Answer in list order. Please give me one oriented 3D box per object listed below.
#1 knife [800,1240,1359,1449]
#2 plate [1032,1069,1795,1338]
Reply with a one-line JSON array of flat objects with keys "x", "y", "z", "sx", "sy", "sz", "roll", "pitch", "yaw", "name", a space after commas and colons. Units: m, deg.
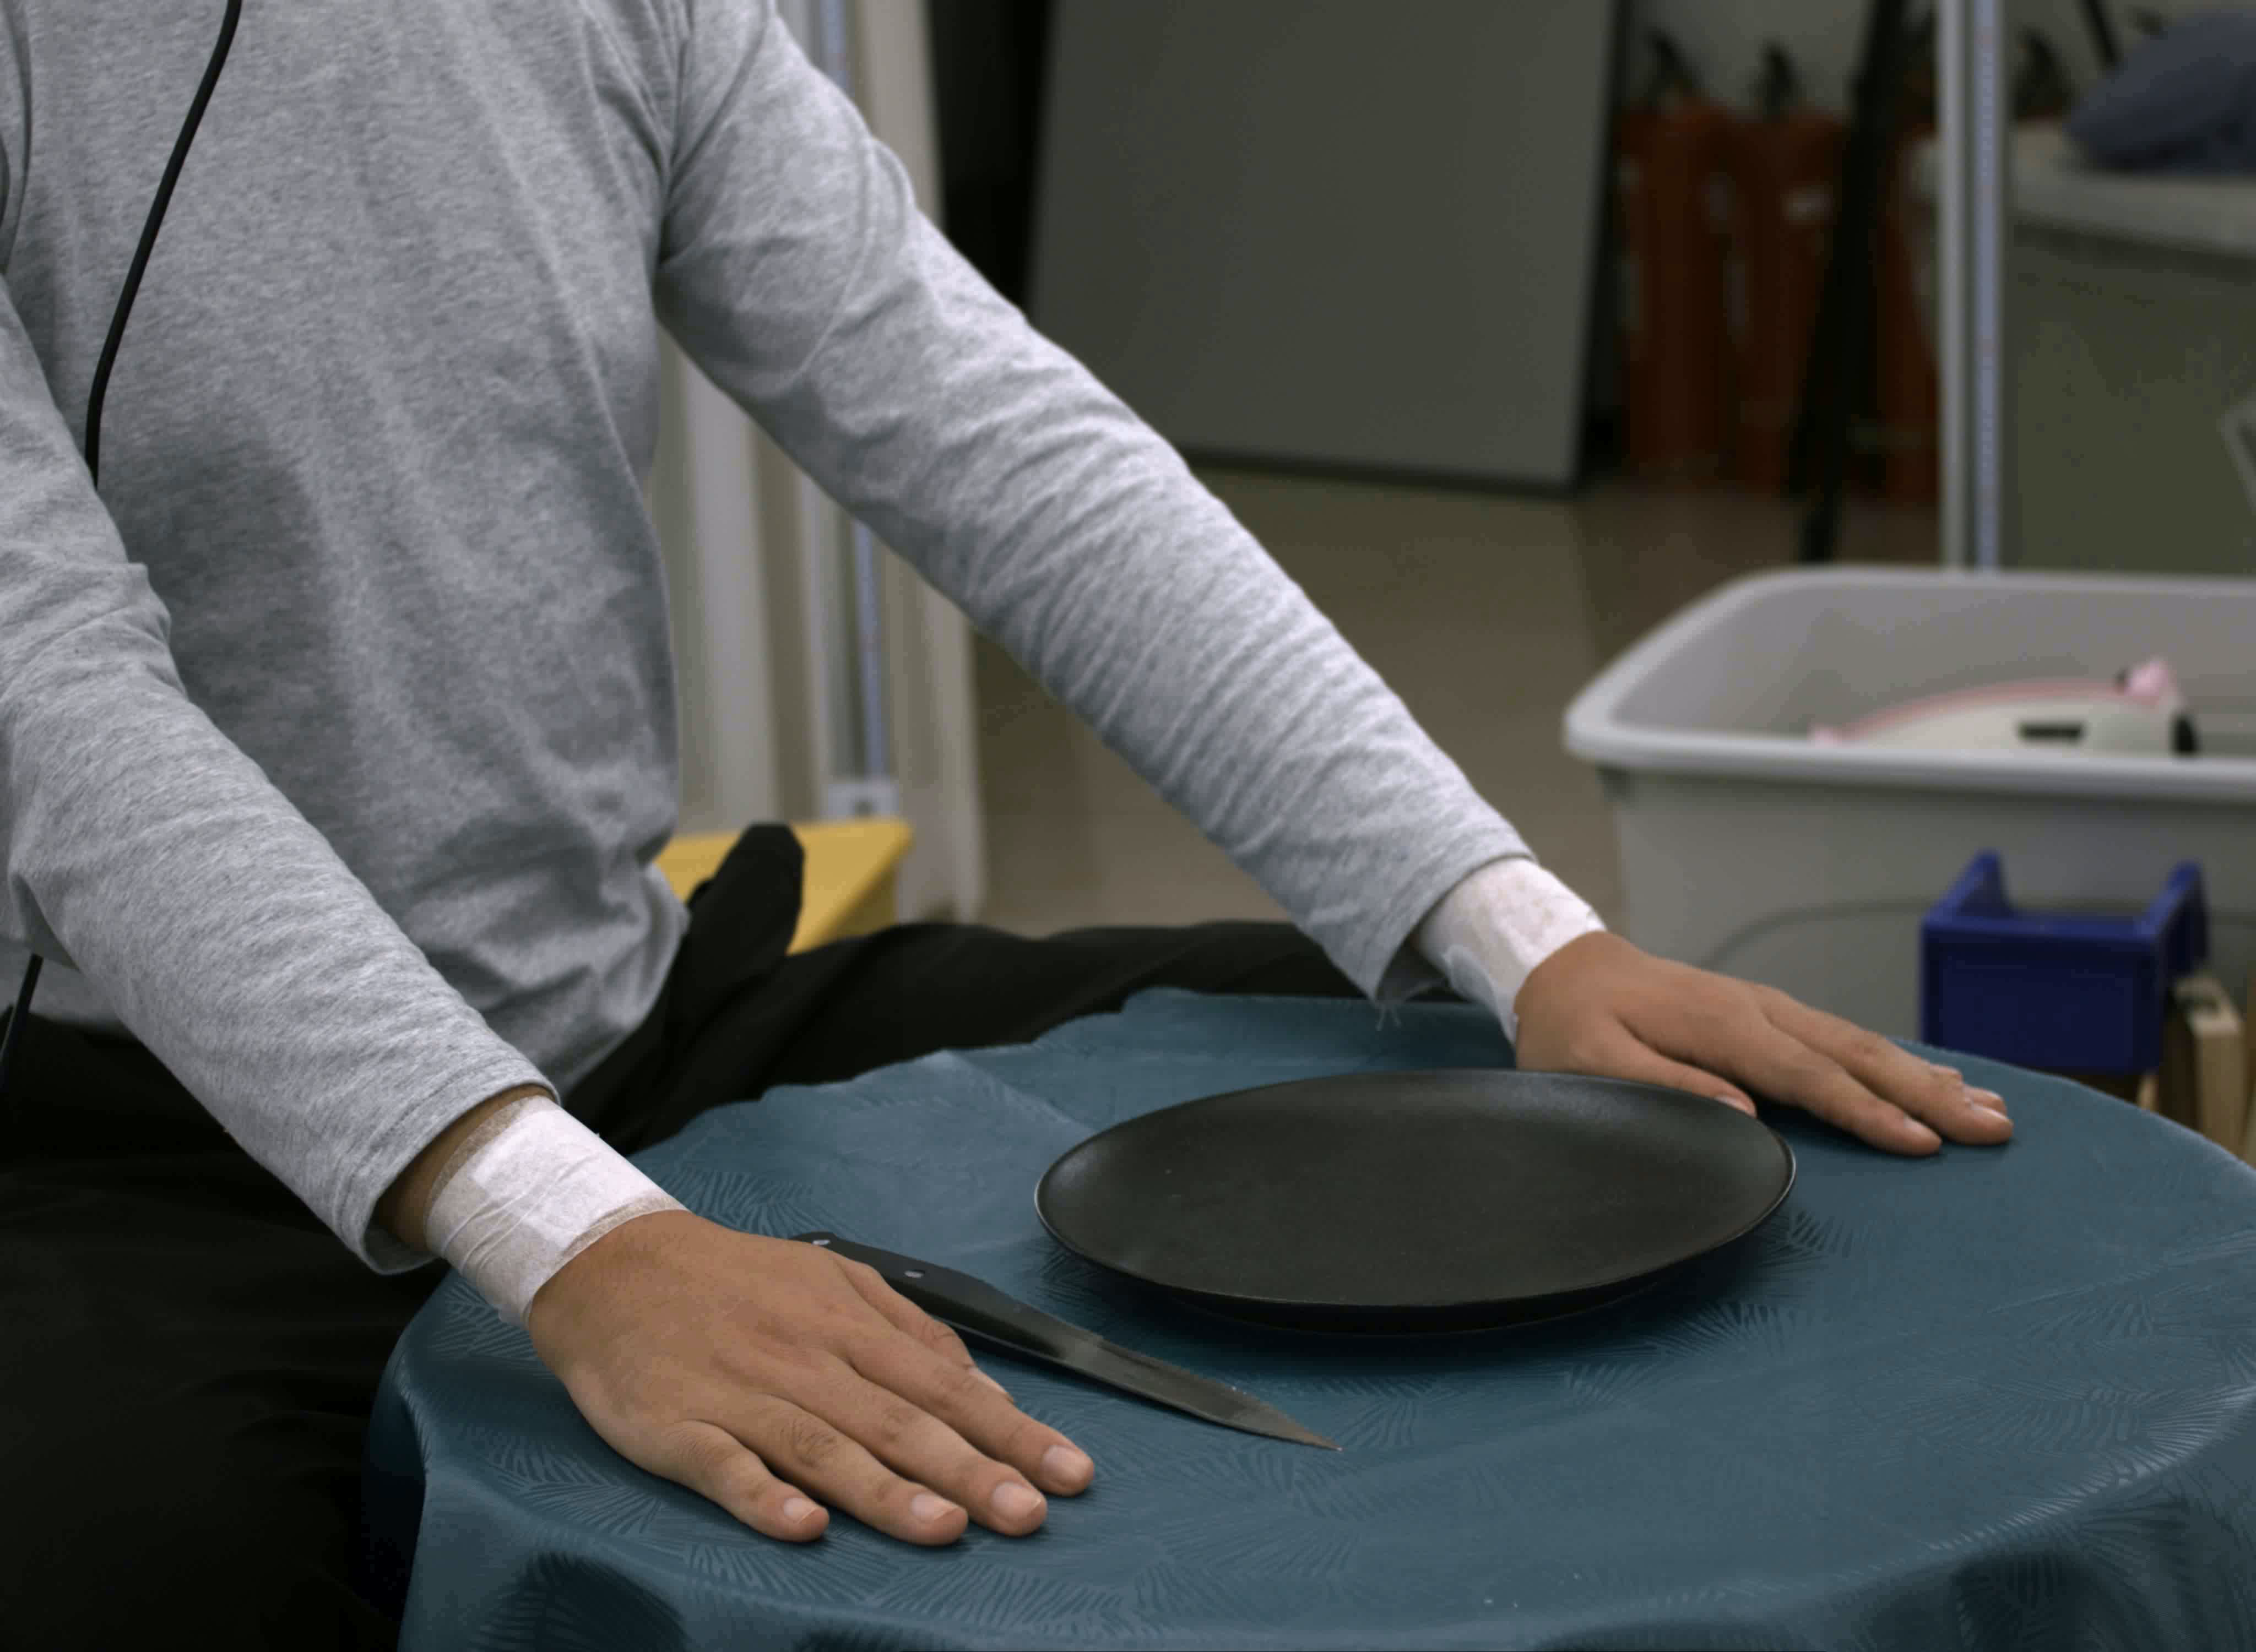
[{"x": -0.019, "y": 0.157, "z": 1.611, "sx": 0.024, "sy": 0.016, "sz": 0.240, "roll": -17, "pitch": 21, "yaw": -41, "name": "knife"}, {"x": 0.090, "y": 0.121, "z": 1.700, "sx": 0.241, "sy": 0.024, "sz": 0.245, "roll": -4, "pitch": 13, "yaw": 0, "name": "plate"}]
